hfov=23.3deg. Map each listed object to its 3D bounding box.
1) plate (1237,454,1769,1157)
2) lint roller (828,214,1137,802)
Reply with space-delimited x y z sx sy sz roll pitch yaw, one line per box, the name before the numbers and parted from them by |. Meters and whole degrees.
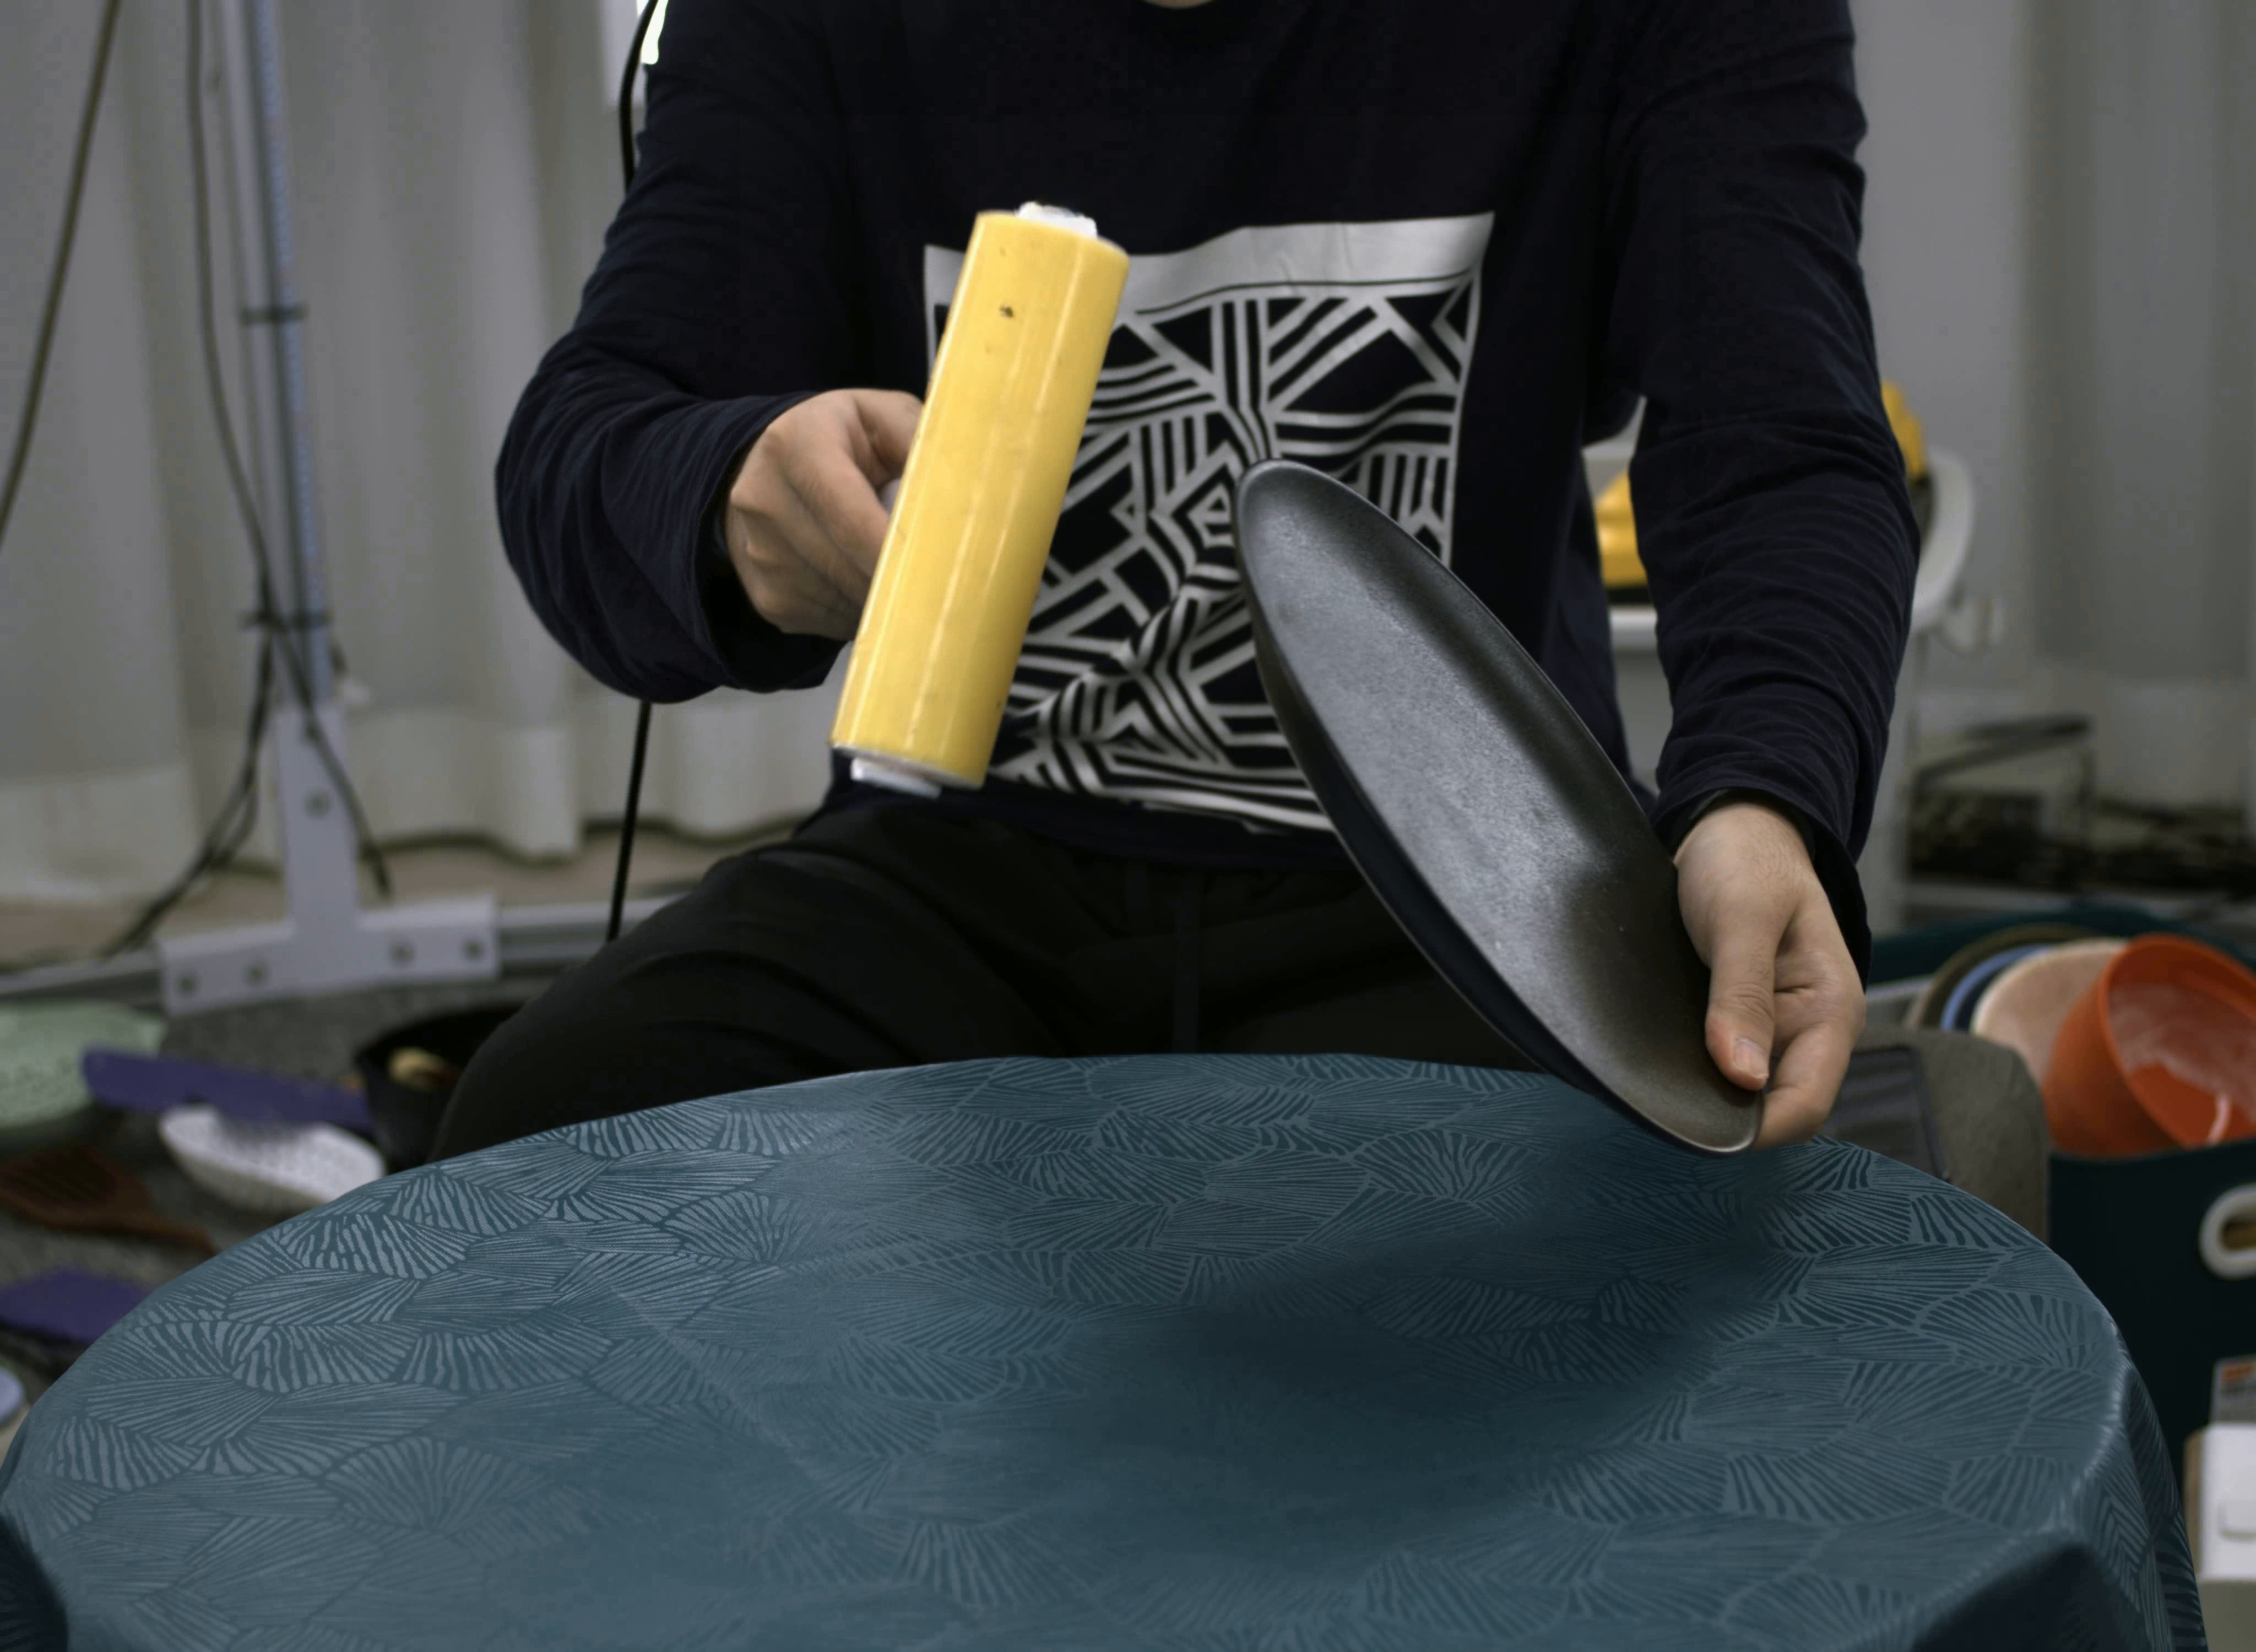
plate | 0.103 -0.003 1.579 0.023 0.244 0.245 -37 5 18
lint roller | -0.070 -0.092 1.655 0.051 0.175 0.192 20 -8 -23
